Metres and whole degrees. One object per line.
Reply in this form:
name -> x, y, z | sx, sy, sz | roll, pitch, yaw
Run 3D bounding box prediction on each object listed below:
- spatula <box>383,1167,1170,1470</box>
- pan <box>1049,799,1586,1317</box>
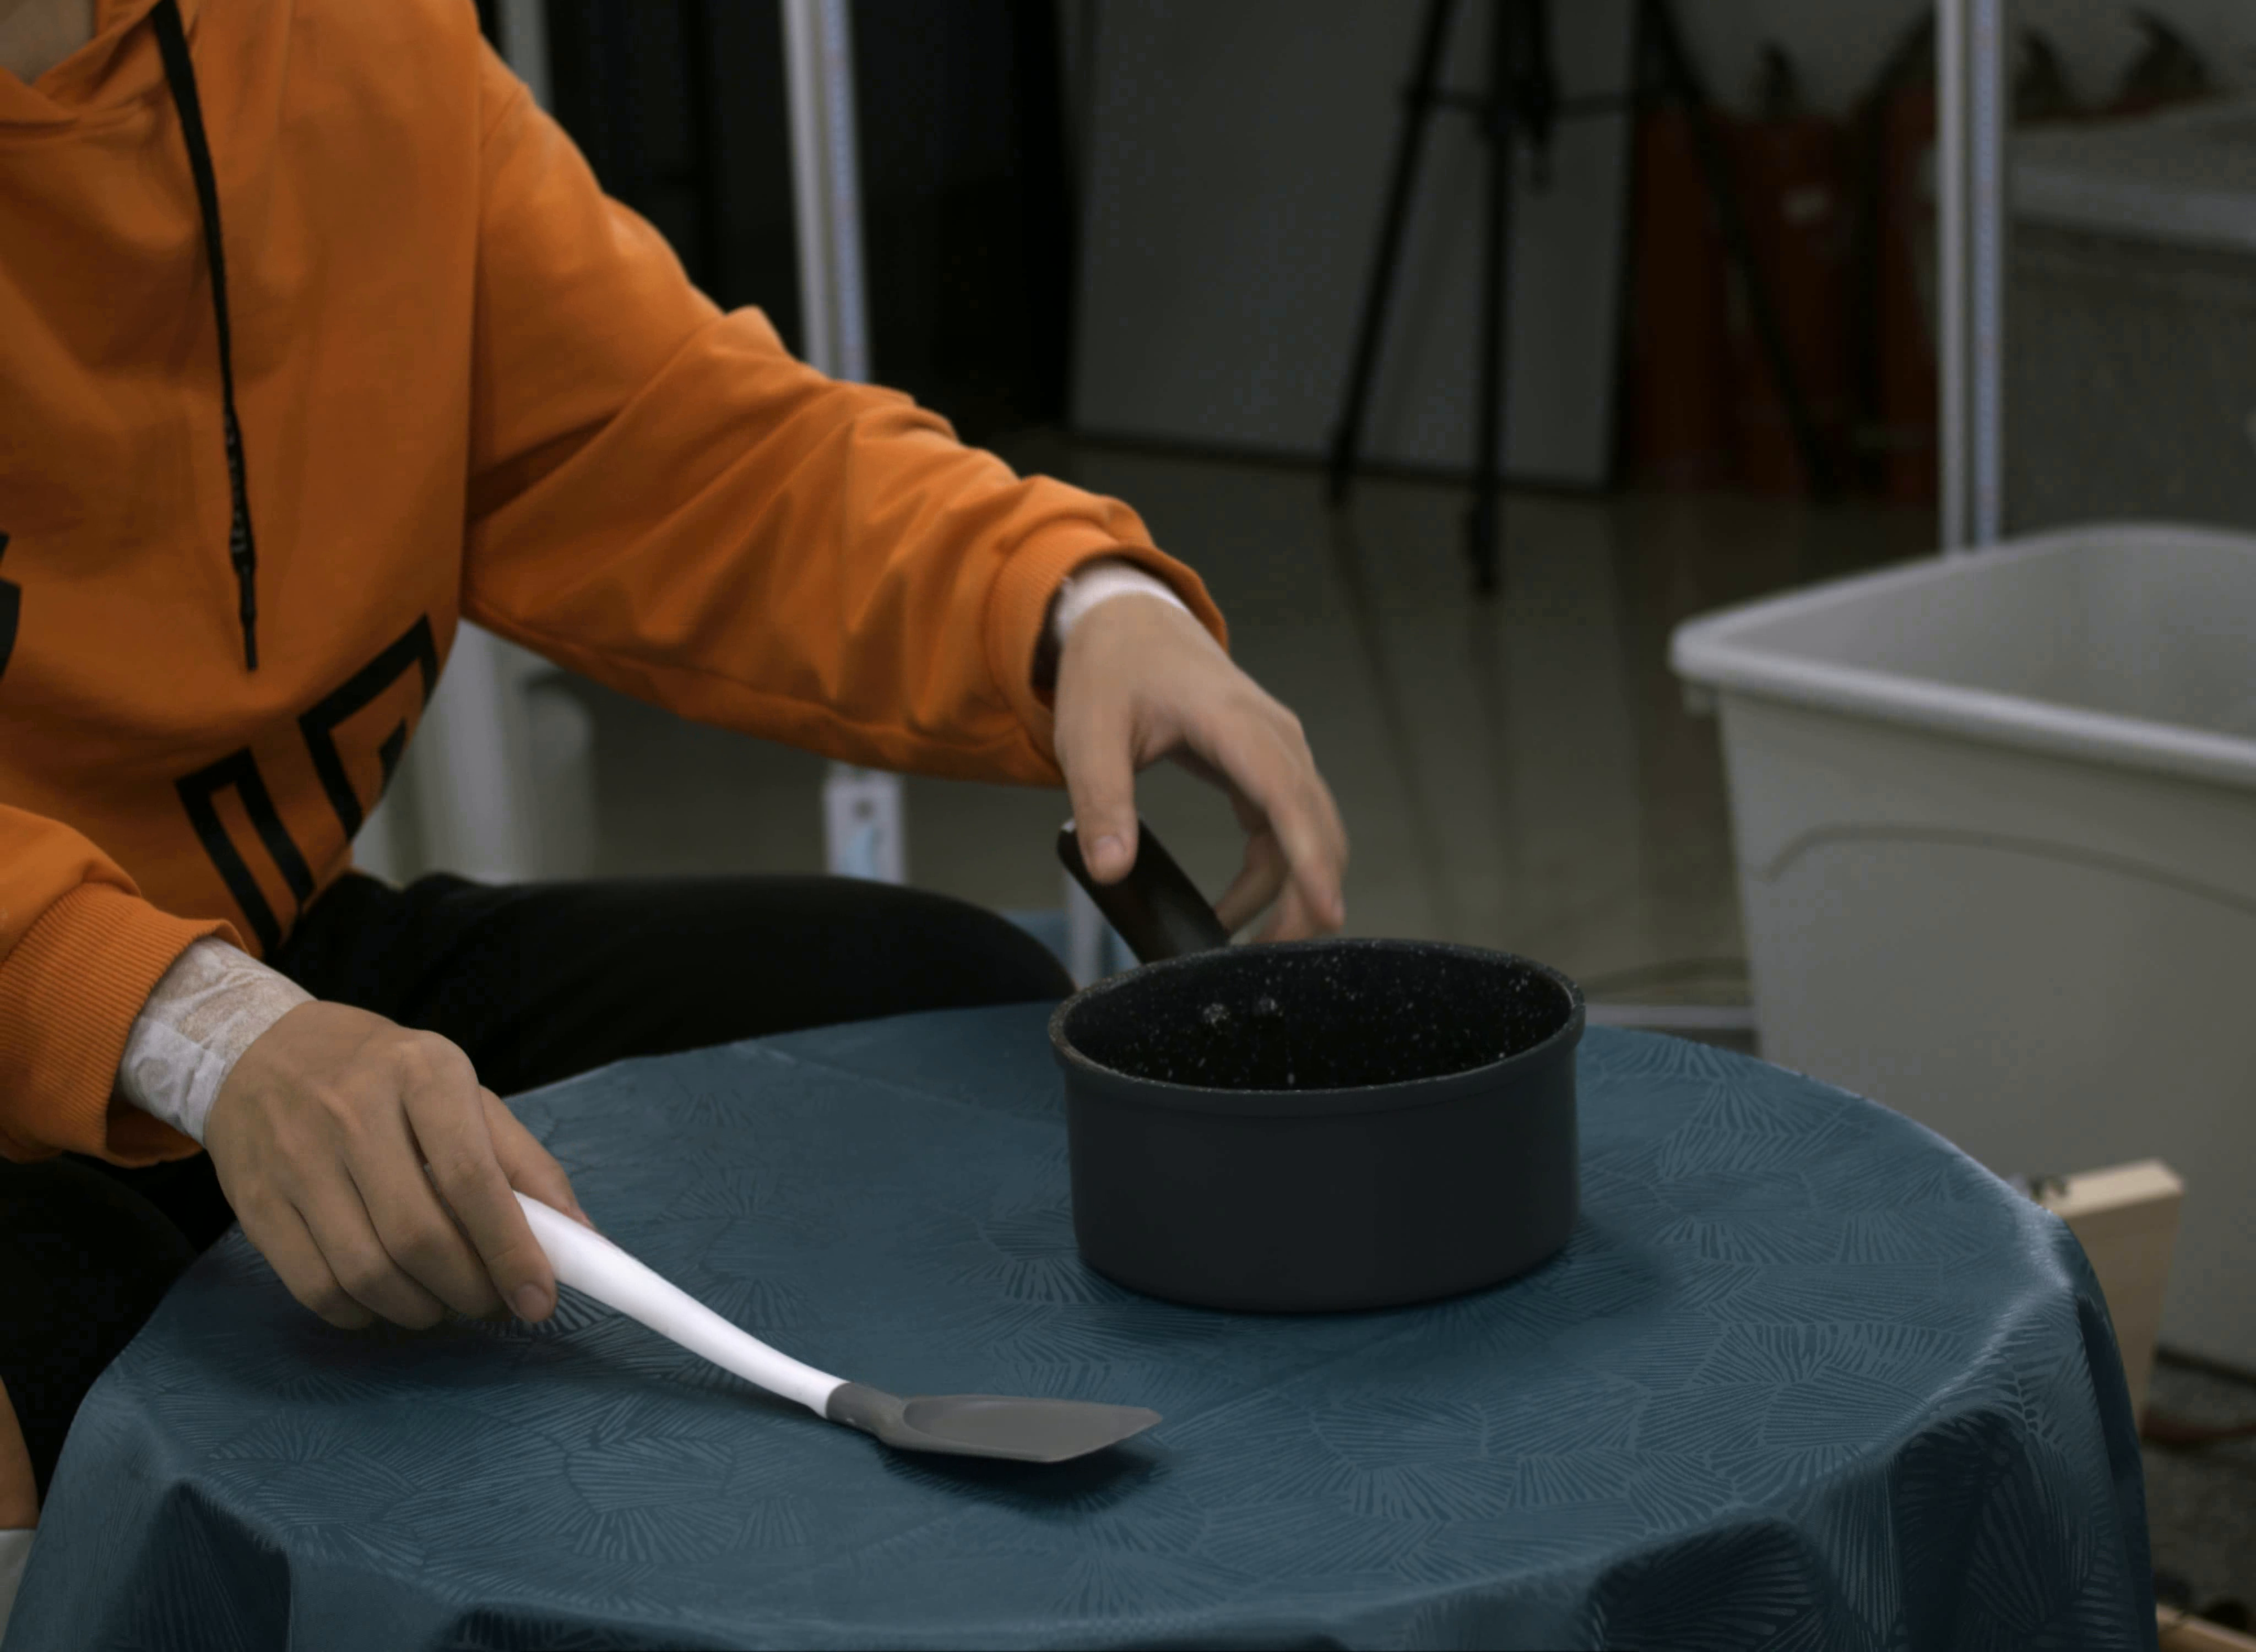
spatula -> -0.110, 0.151, 1.596 | 0.290, 0.032, 0.057 | 15, 15, 38
pan -> 0.042, 0.072, 1.778 | 0.169, 0.087, 0.331 | -7, 16, -12
